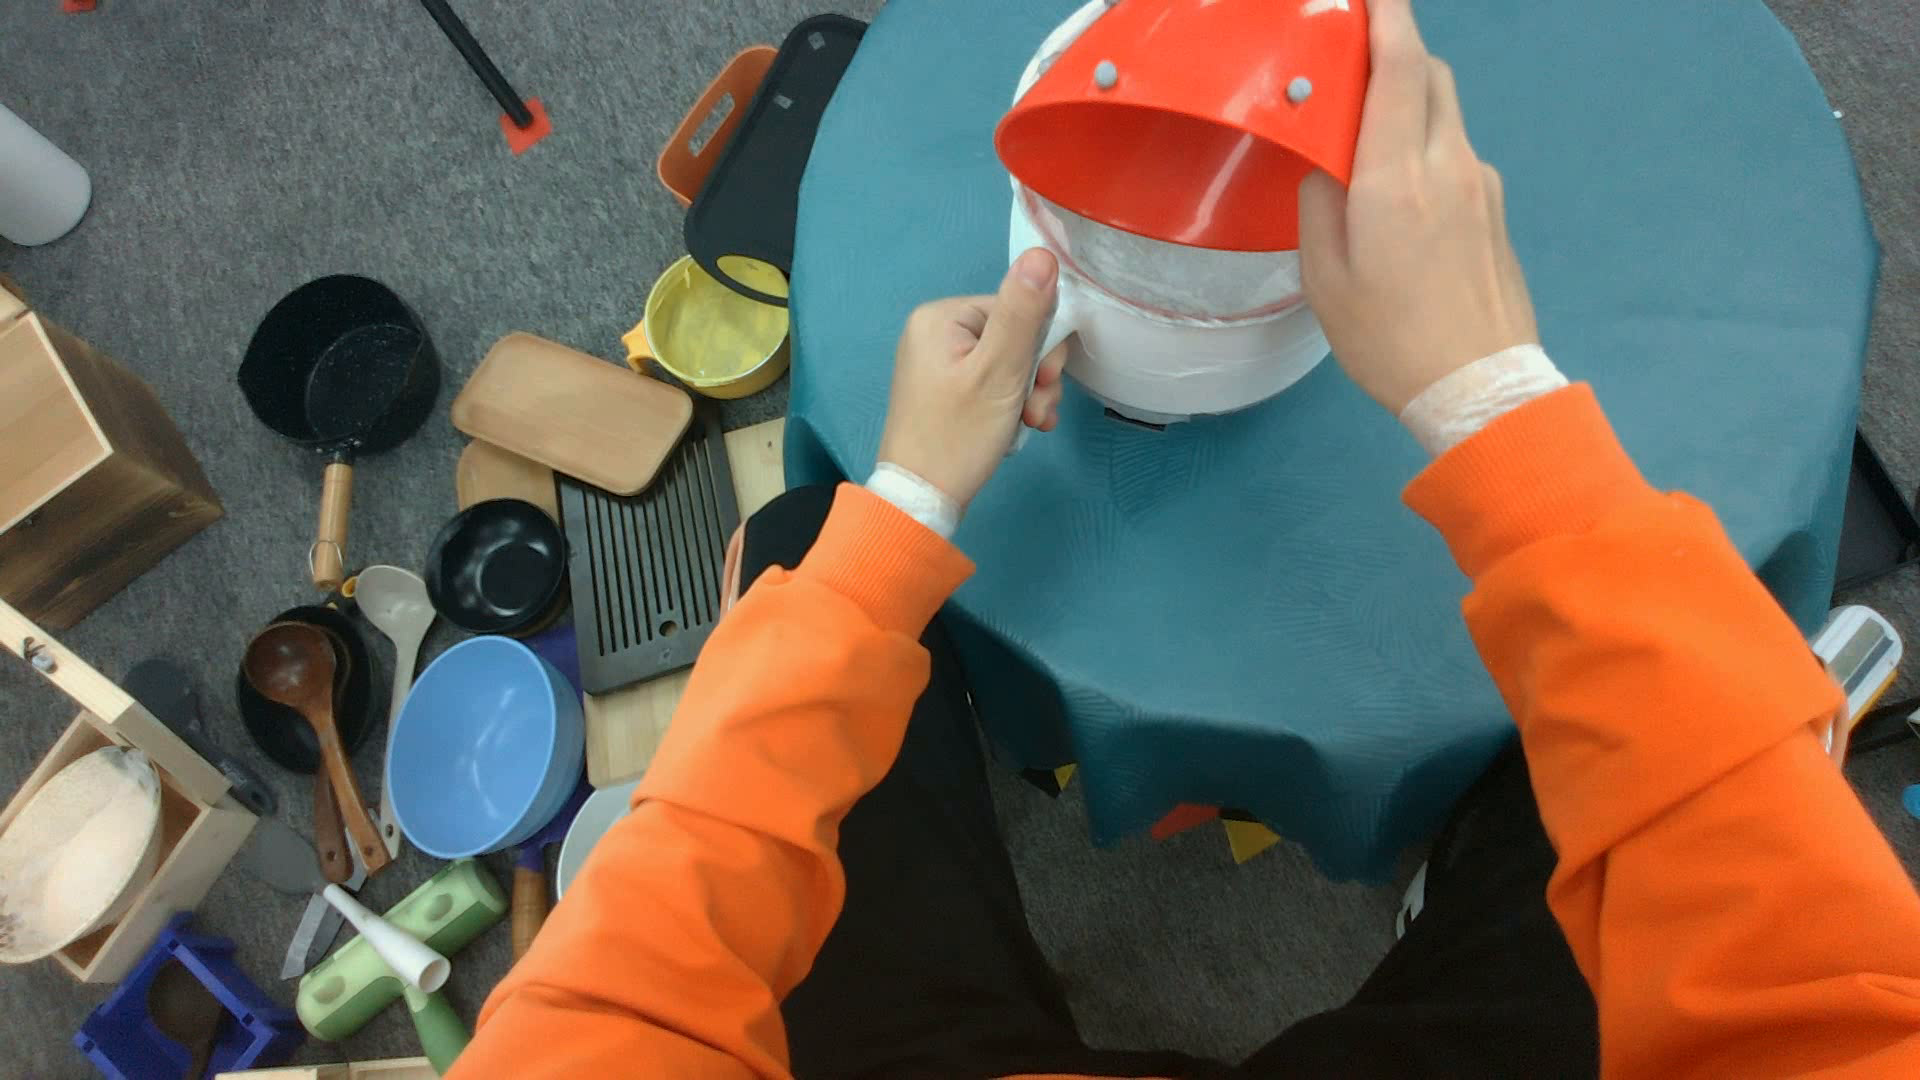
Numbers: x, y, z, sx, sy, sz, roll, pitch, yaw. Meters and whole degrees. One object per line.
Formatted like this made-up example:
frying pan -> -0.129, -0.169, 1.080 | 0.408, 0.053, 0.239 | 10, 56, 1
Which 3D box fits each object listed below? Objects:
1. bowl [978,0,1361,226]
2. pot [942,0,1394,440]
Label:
bowl -> 0.093, -0.188, 0.550 | 0.148, 0.148, 0.104 | 20, 92, 13
pot -> 0.083, -0.146, 0.658 | 0.179, 0.136, 0.234 | 43, 79, 14
